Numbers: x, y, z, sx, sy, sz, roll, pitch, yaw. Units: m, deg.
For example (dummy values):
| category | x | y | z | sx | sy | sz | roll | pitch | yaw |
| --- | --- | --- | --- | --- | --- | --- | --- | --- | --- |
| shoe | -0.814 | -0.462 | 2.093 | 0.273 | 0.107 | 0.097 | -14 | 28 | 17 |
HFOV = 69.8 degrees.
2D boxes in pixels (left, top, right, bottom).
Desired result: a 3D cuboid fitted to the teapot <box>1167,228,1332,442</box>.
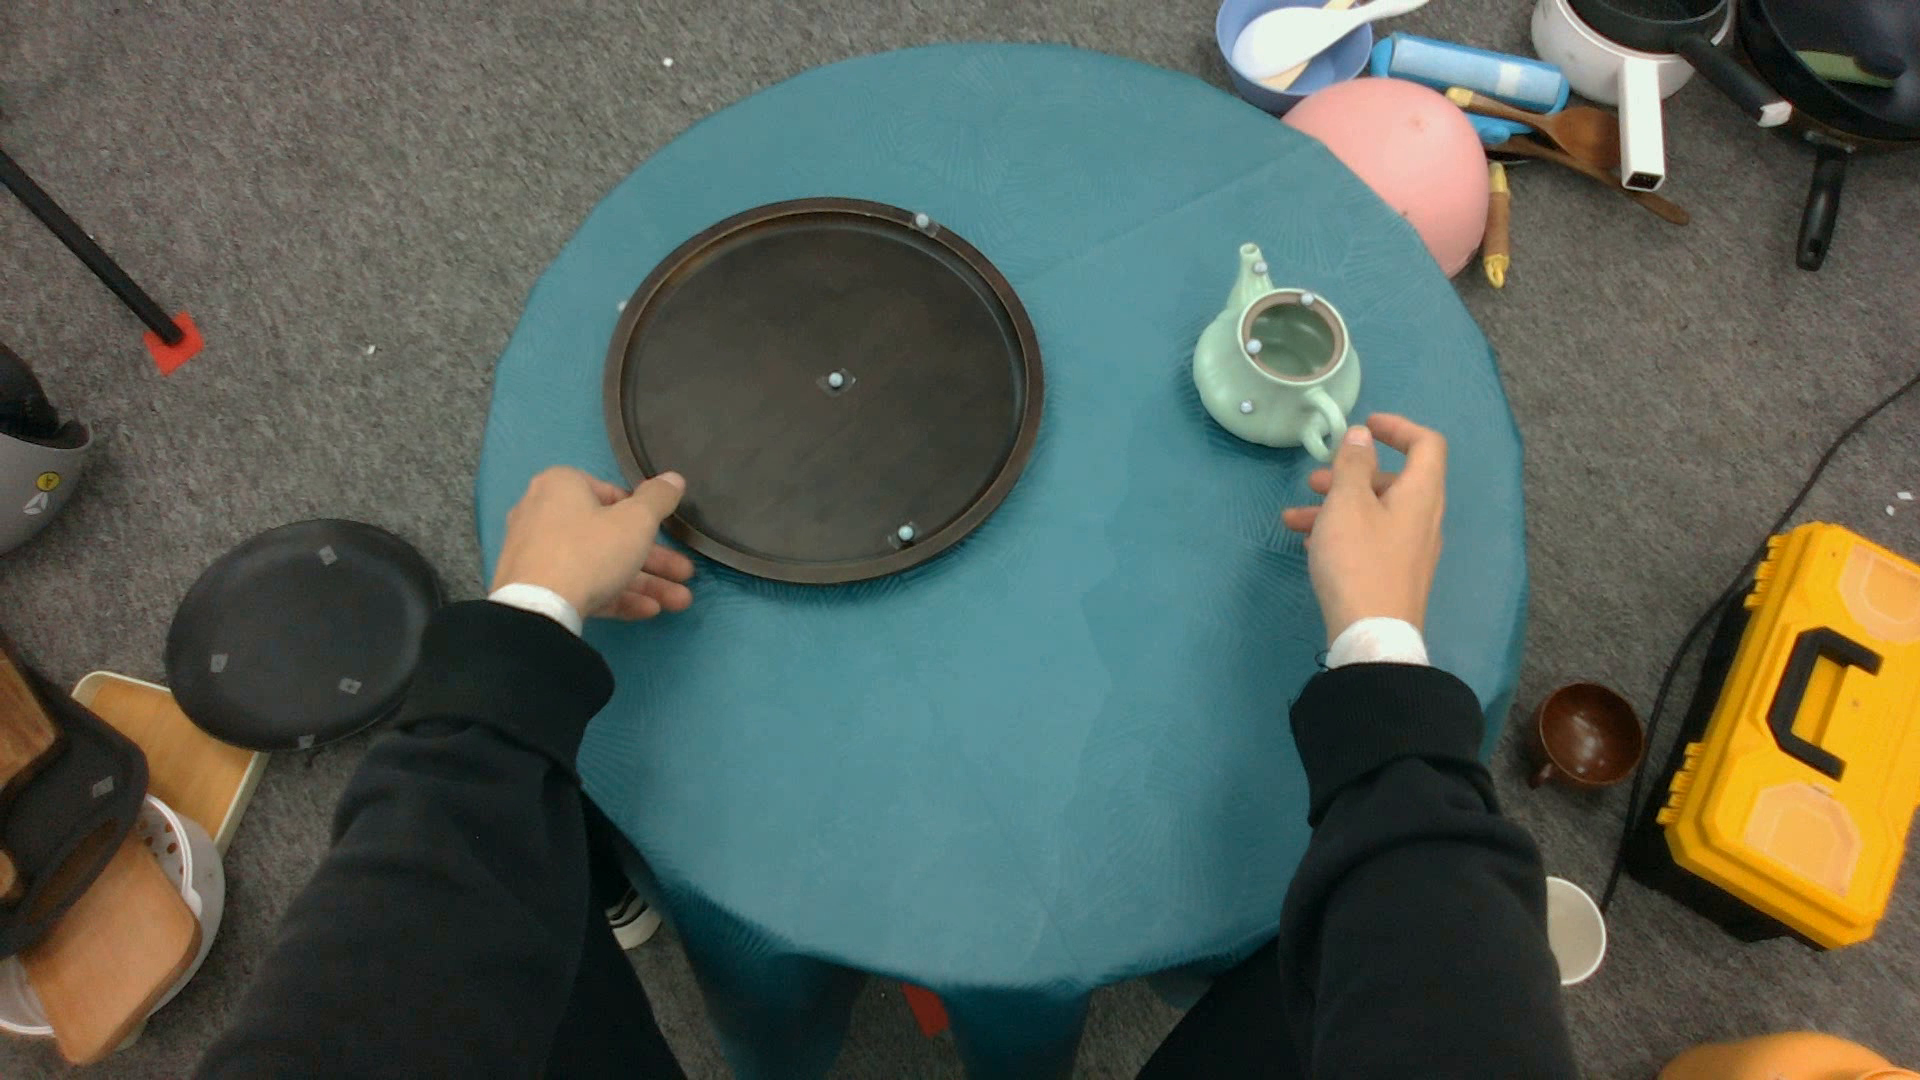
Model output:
| category | x | y | z | sx | sy | sz | roll | pitch | yaw |
| --- | --- | --- | --- | --- | --- | --- | --- | --- | --- |
| teapot | 0.171 | -0.111 | 0.791 | 0.096 | 0.061 | 0.137 | -20 | 69 | -12 |

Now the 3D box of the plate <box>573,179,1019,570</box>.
| category | x | y | z | sx | sy | sz | roll | pitch | yaw |
| --- | --- | --- | --- | --- | --- | --- | --- | --- | --- |
| plate | -0.093 | -0.099 | 0.793 | 0.255 | 0.029 | 0.255 | 1 | 66 | -3 |
